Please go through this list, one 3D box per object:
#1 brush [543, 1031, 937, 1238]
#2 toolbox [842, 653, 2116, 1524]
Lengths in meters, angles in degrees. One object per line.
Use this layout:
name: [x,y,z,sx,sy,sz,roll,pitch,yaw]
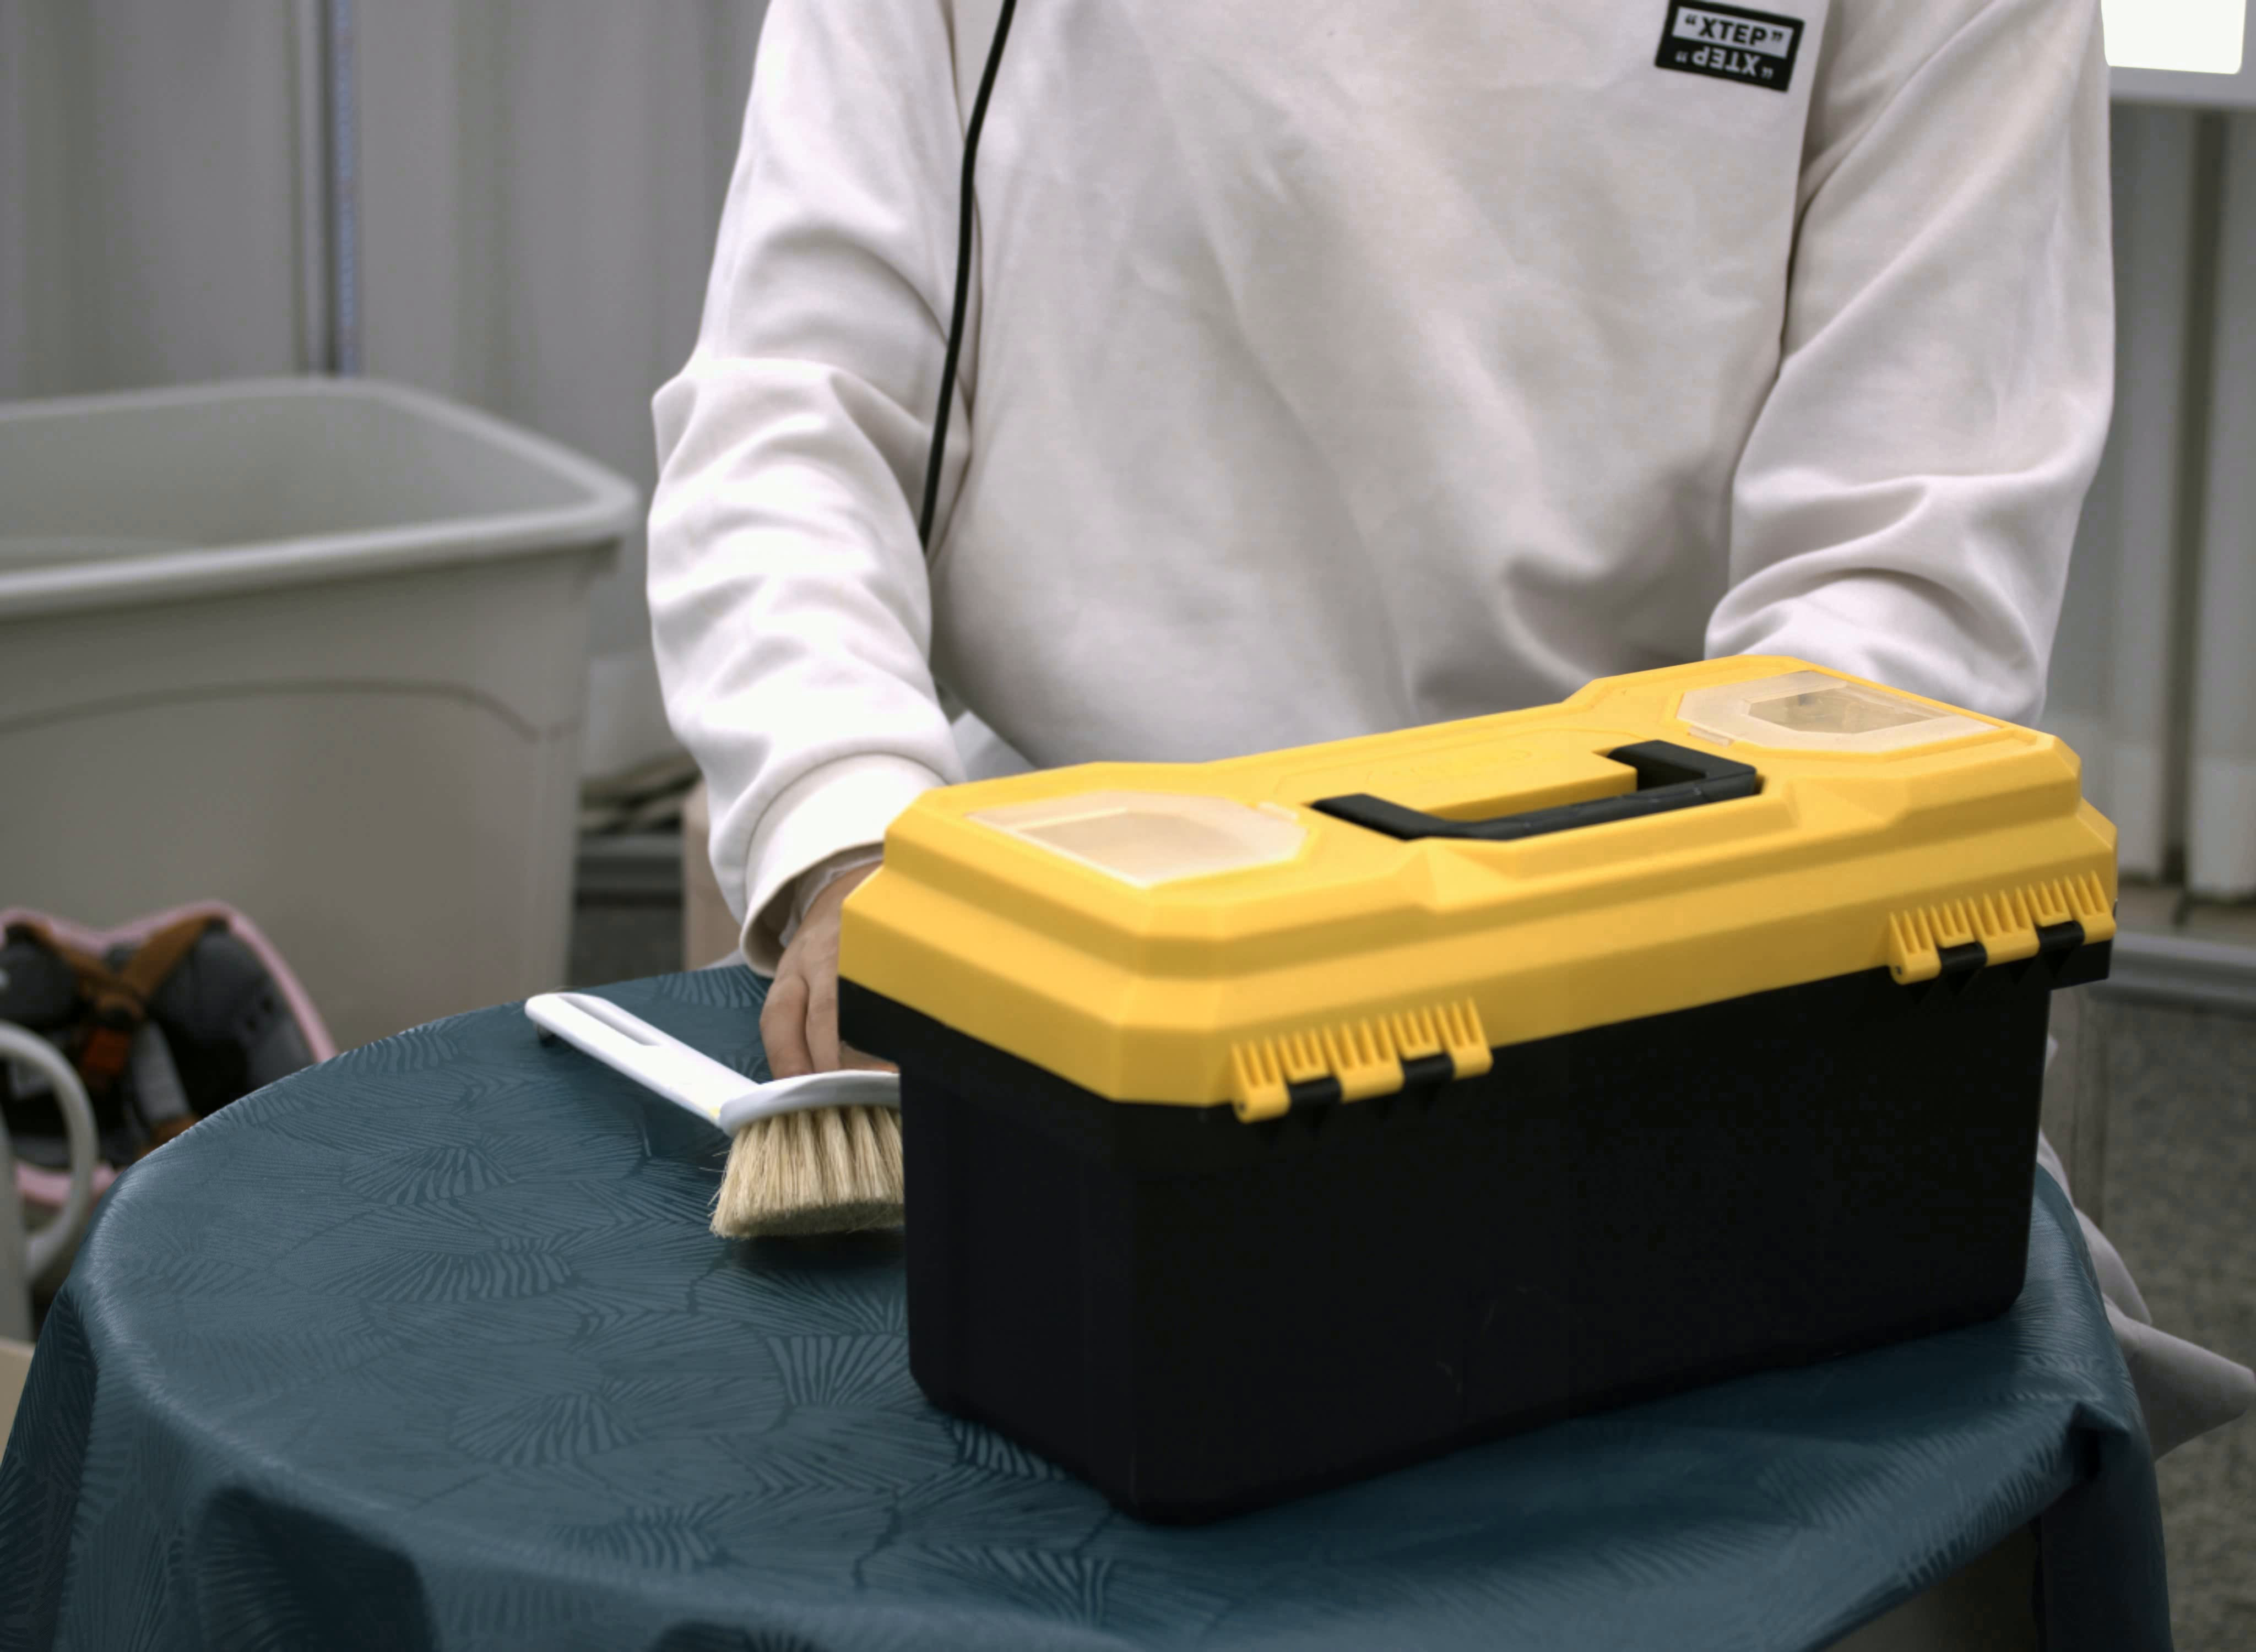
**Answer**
brush: [-0.131,0.095,1.661,0.069,0.056,0.264,15,-8,-26]
toolbox: [0.101,0.065,1.478,0.353,0.174,0.179,-9,20,-34]
